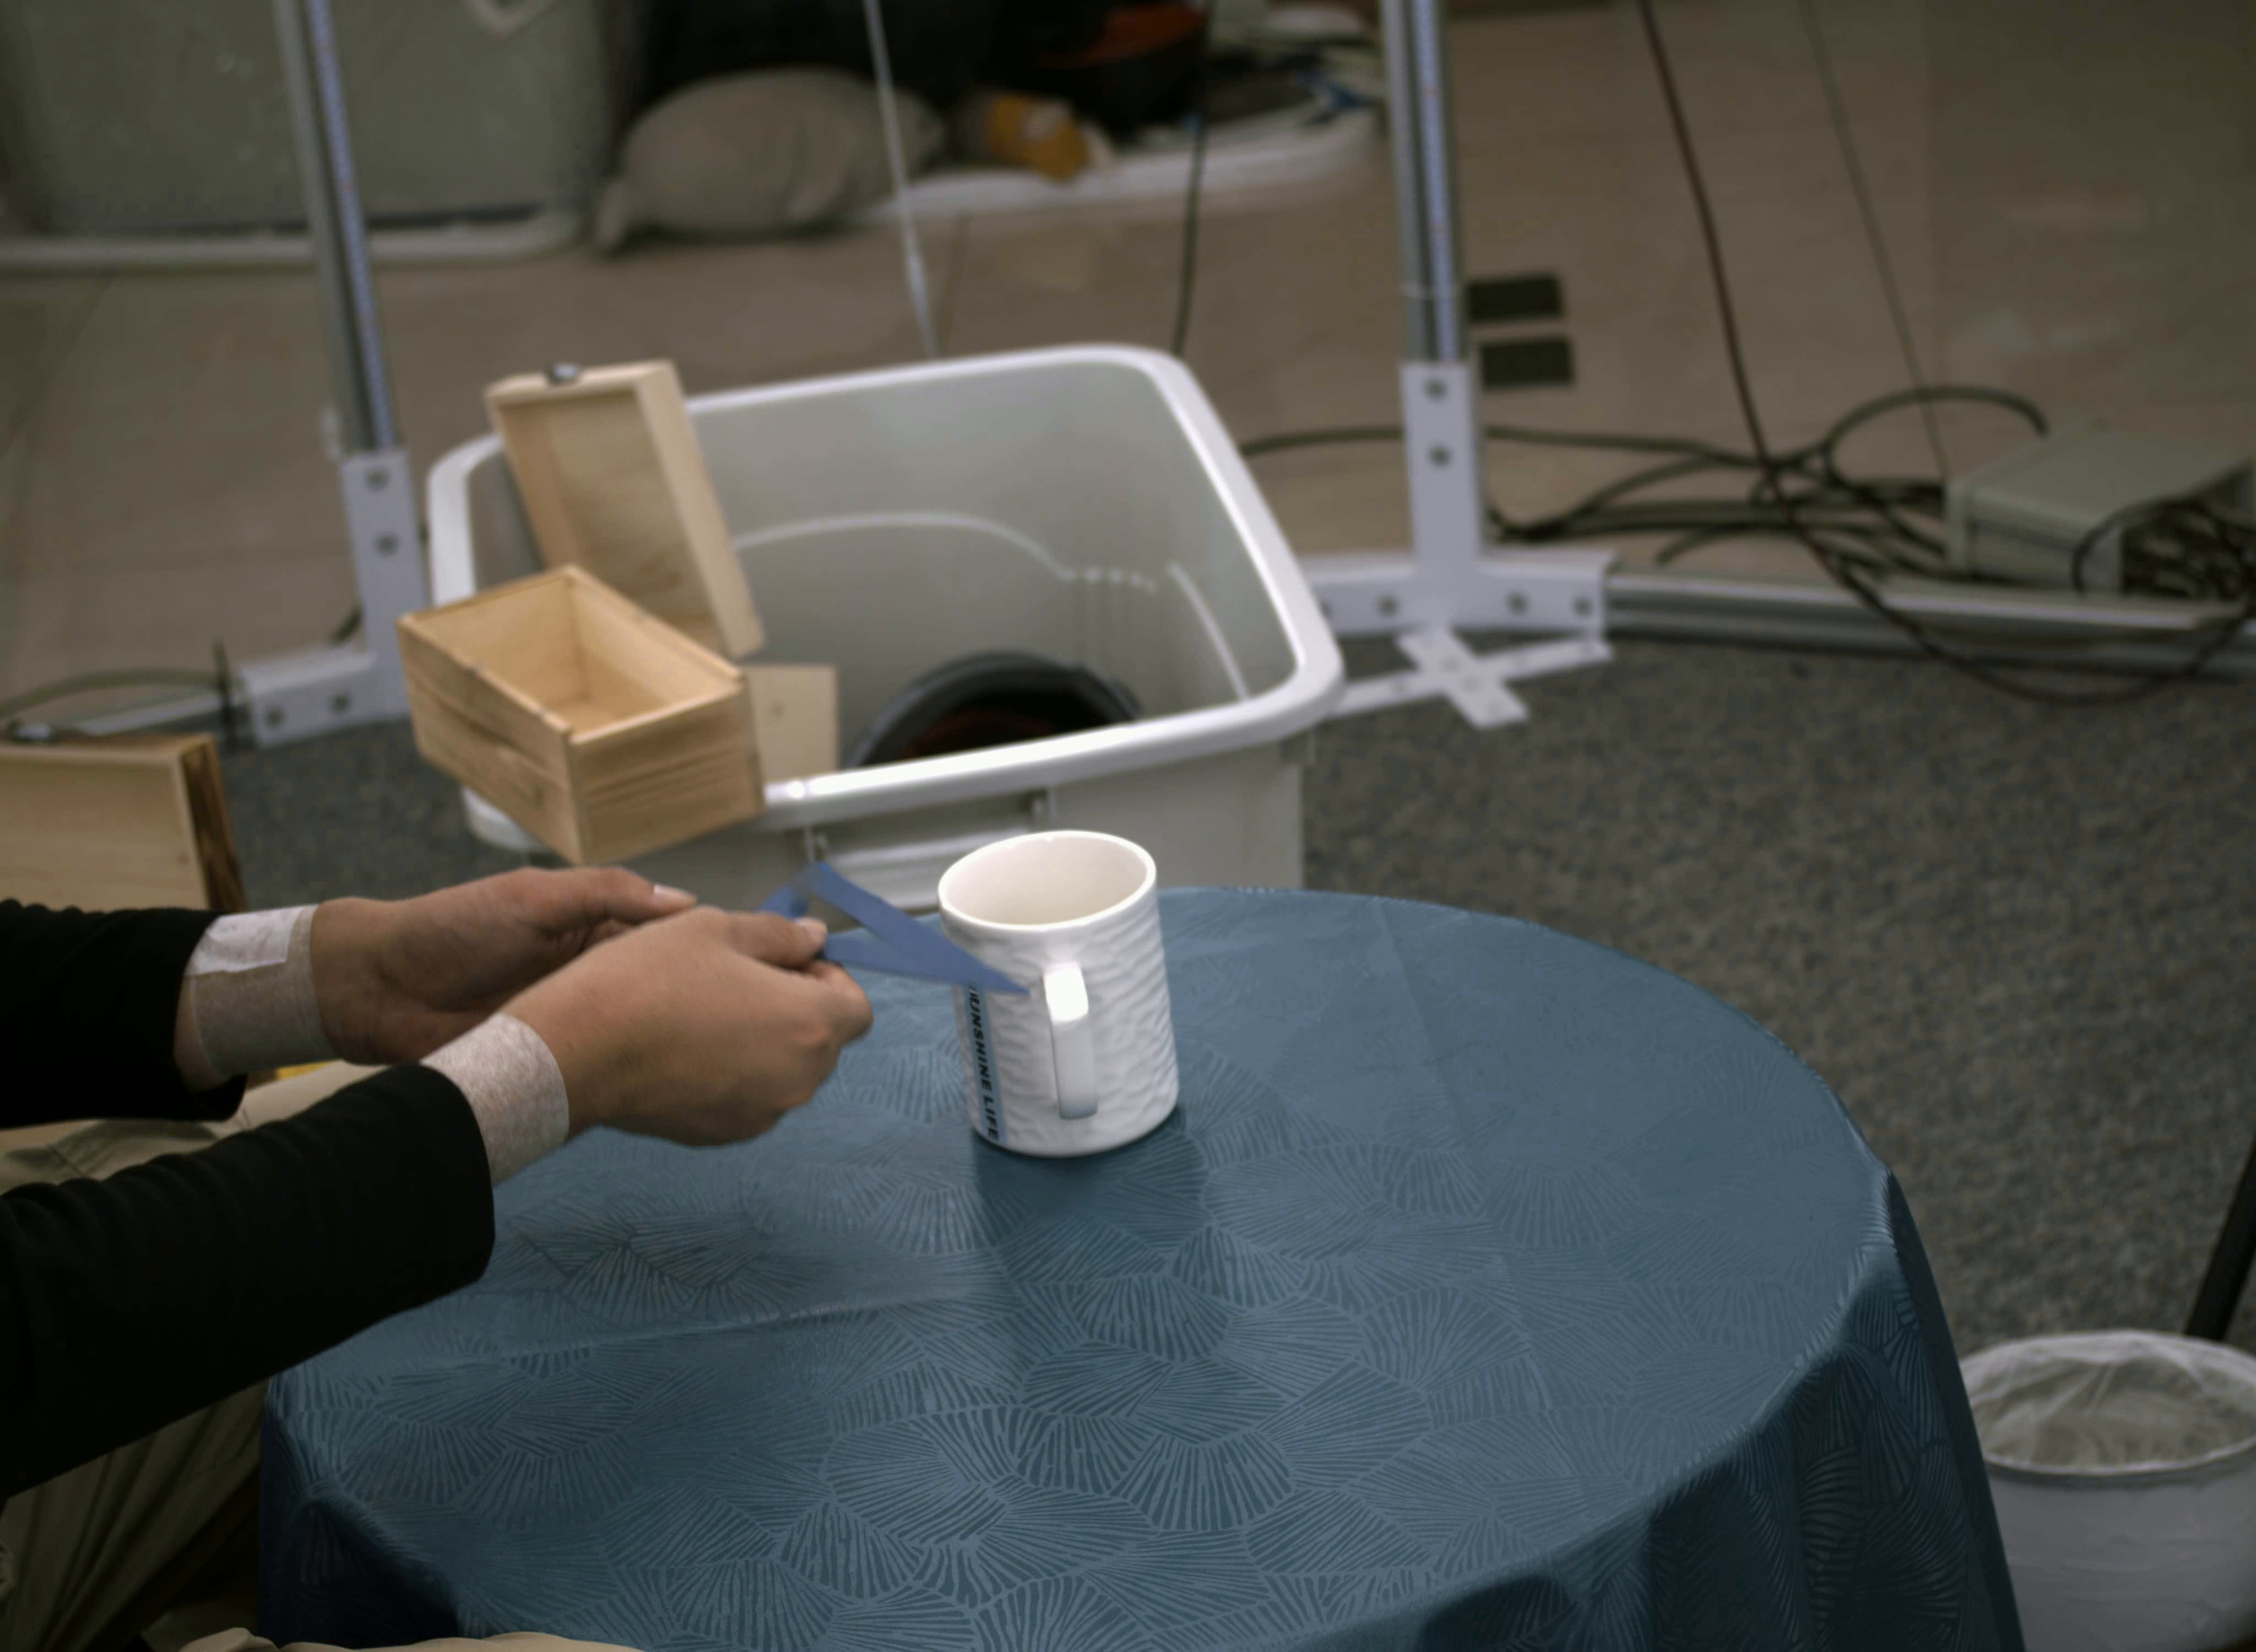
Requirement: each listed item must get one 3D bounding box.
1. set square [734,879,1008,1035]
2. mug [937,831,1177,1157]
[{"bbox_3d":[-0.100,0.053,2.078,0.061,0.007,0.130,-19,35,-29],"label":"set square"},{"bbox_3d":[-0.025,0.072,2.175,0.085,0.103,0.116,-7,25,-3],"label":"mug"}]
